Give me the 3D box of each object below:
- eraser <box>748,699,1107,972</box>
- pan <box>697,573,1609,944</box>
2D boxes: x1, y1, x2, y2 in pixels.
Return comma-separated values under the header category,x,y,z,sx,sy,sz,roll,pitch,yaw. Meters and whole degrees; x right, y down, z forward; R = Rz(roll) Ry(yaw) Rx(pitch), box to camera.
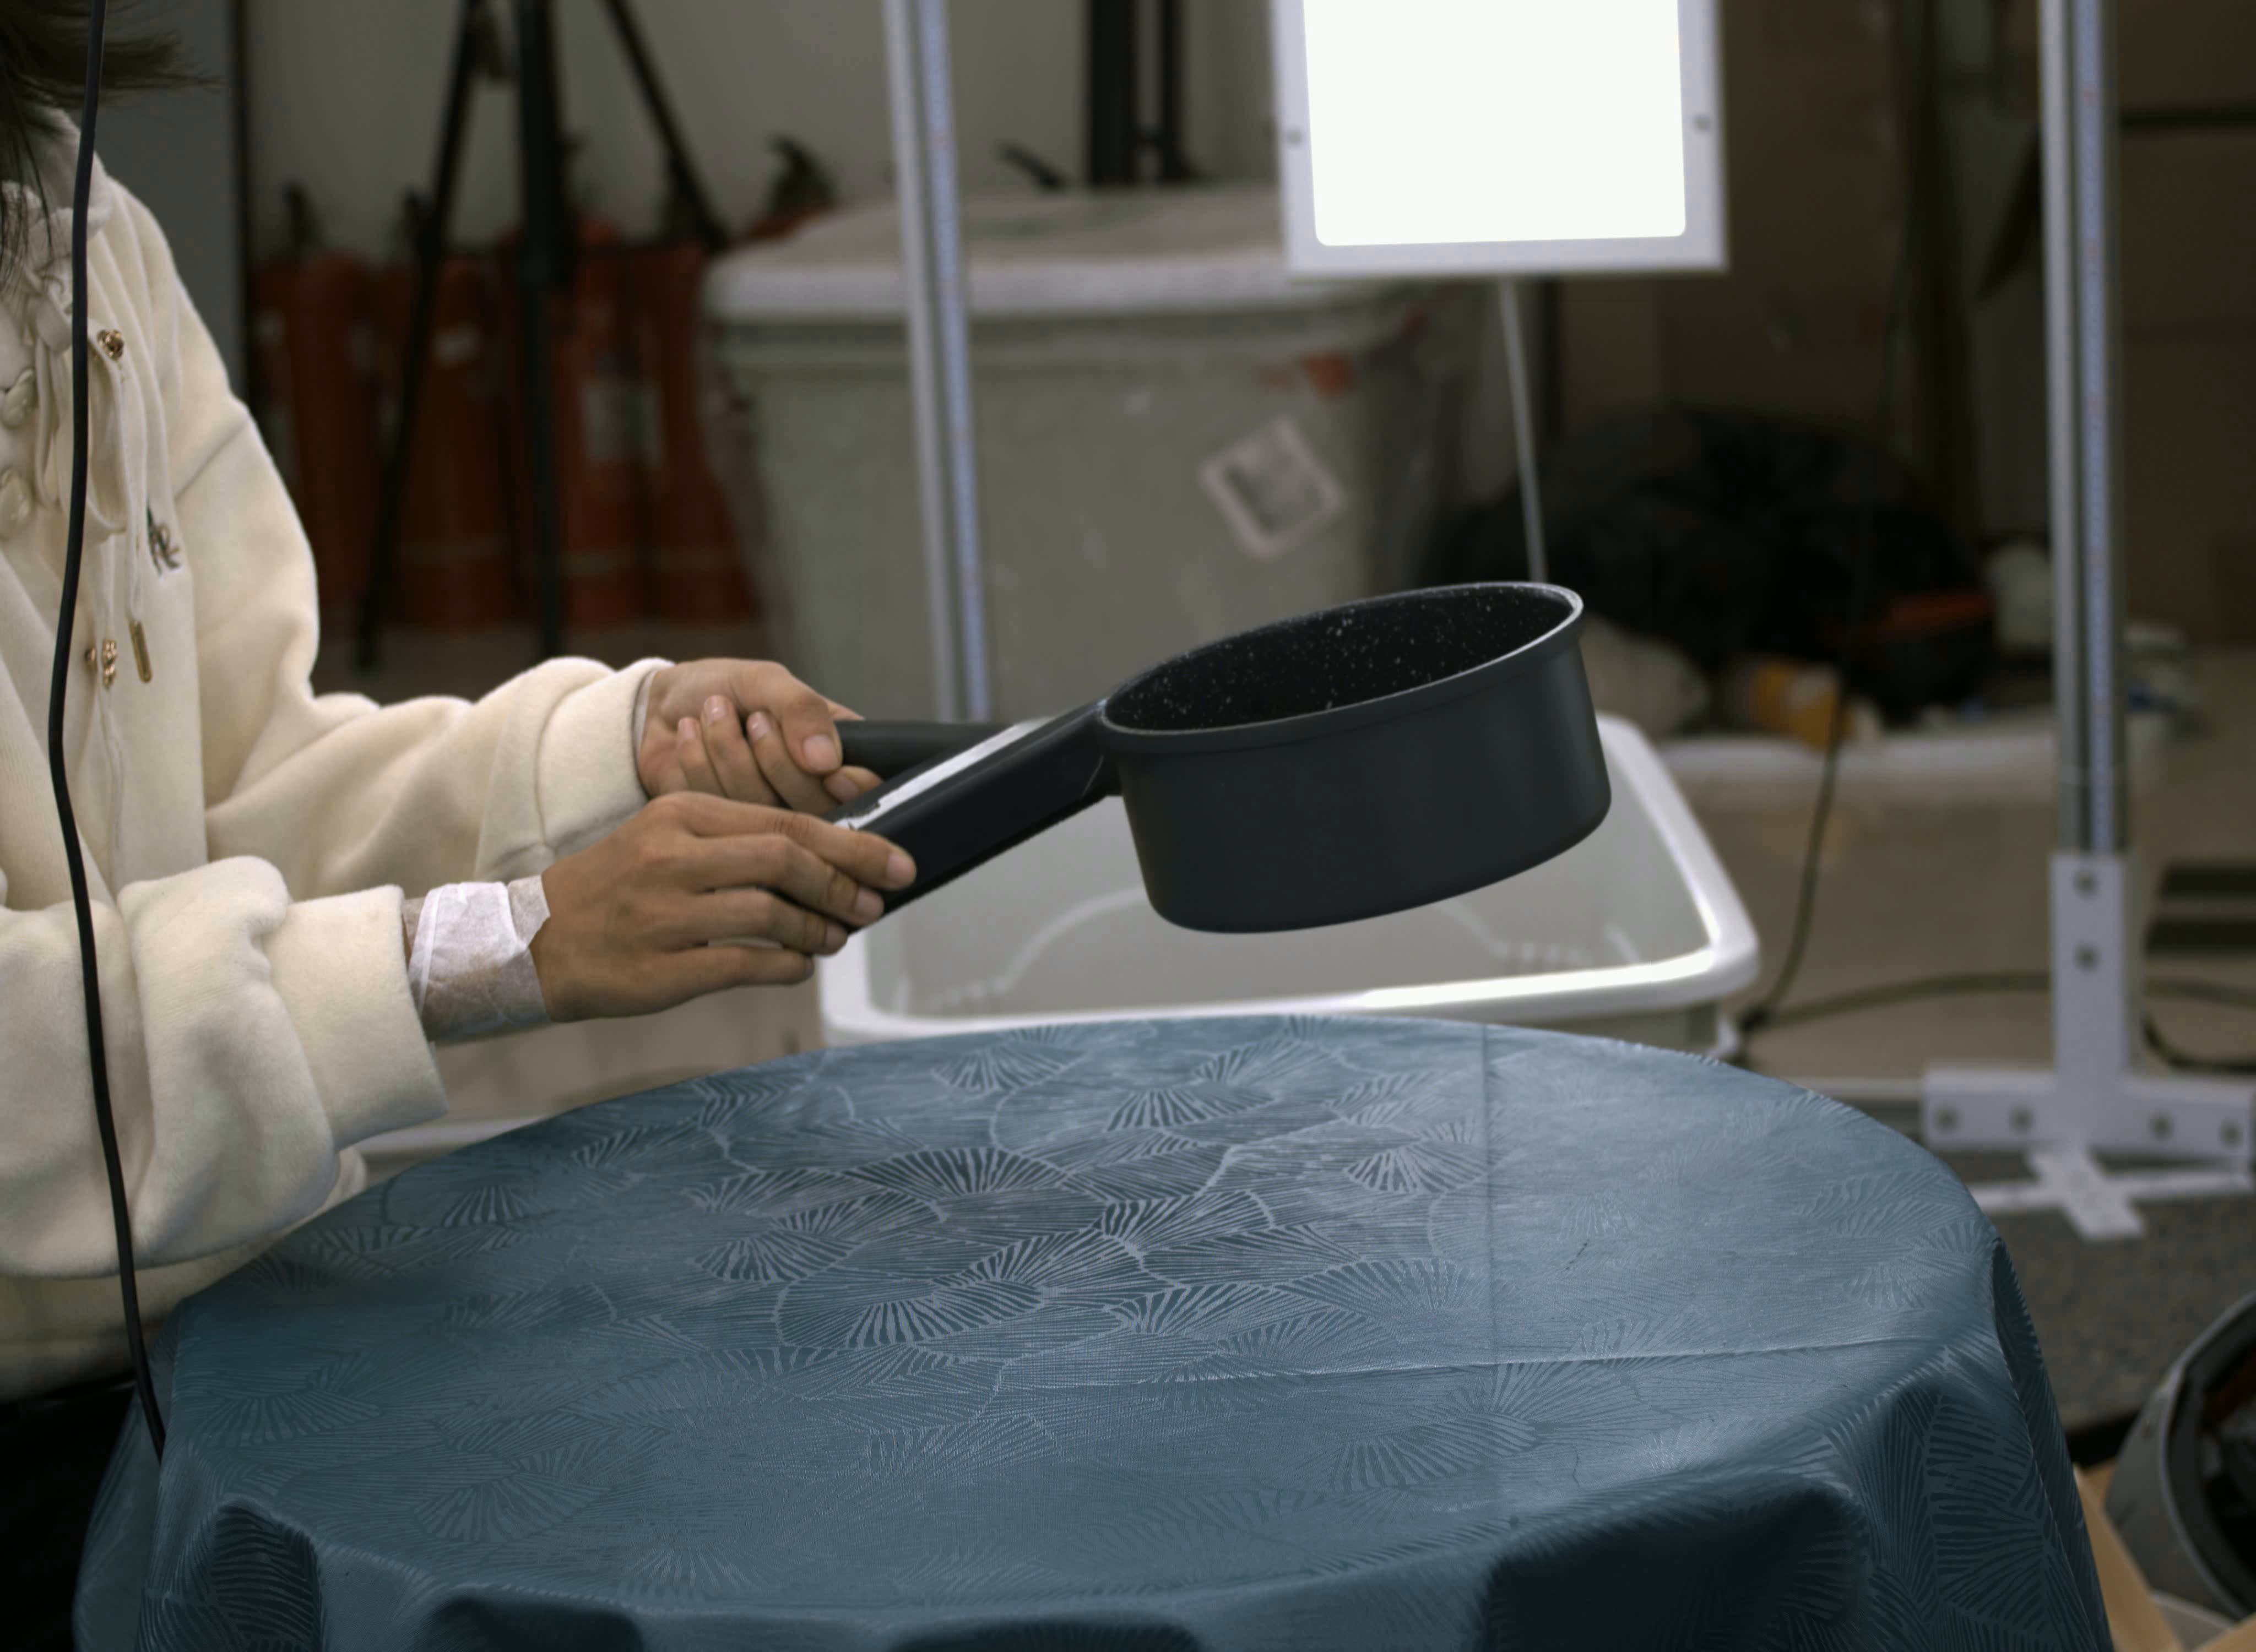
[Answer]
category,x,y,z,sx,sy,sz,roll,pitch,yaw
eraser,-0.068,0.002,1.861,0.125,0.030,0.054,-30,17,2
pan,0.005,-0.016,1.906,0.334,0.086,0.169,-6,15,25
